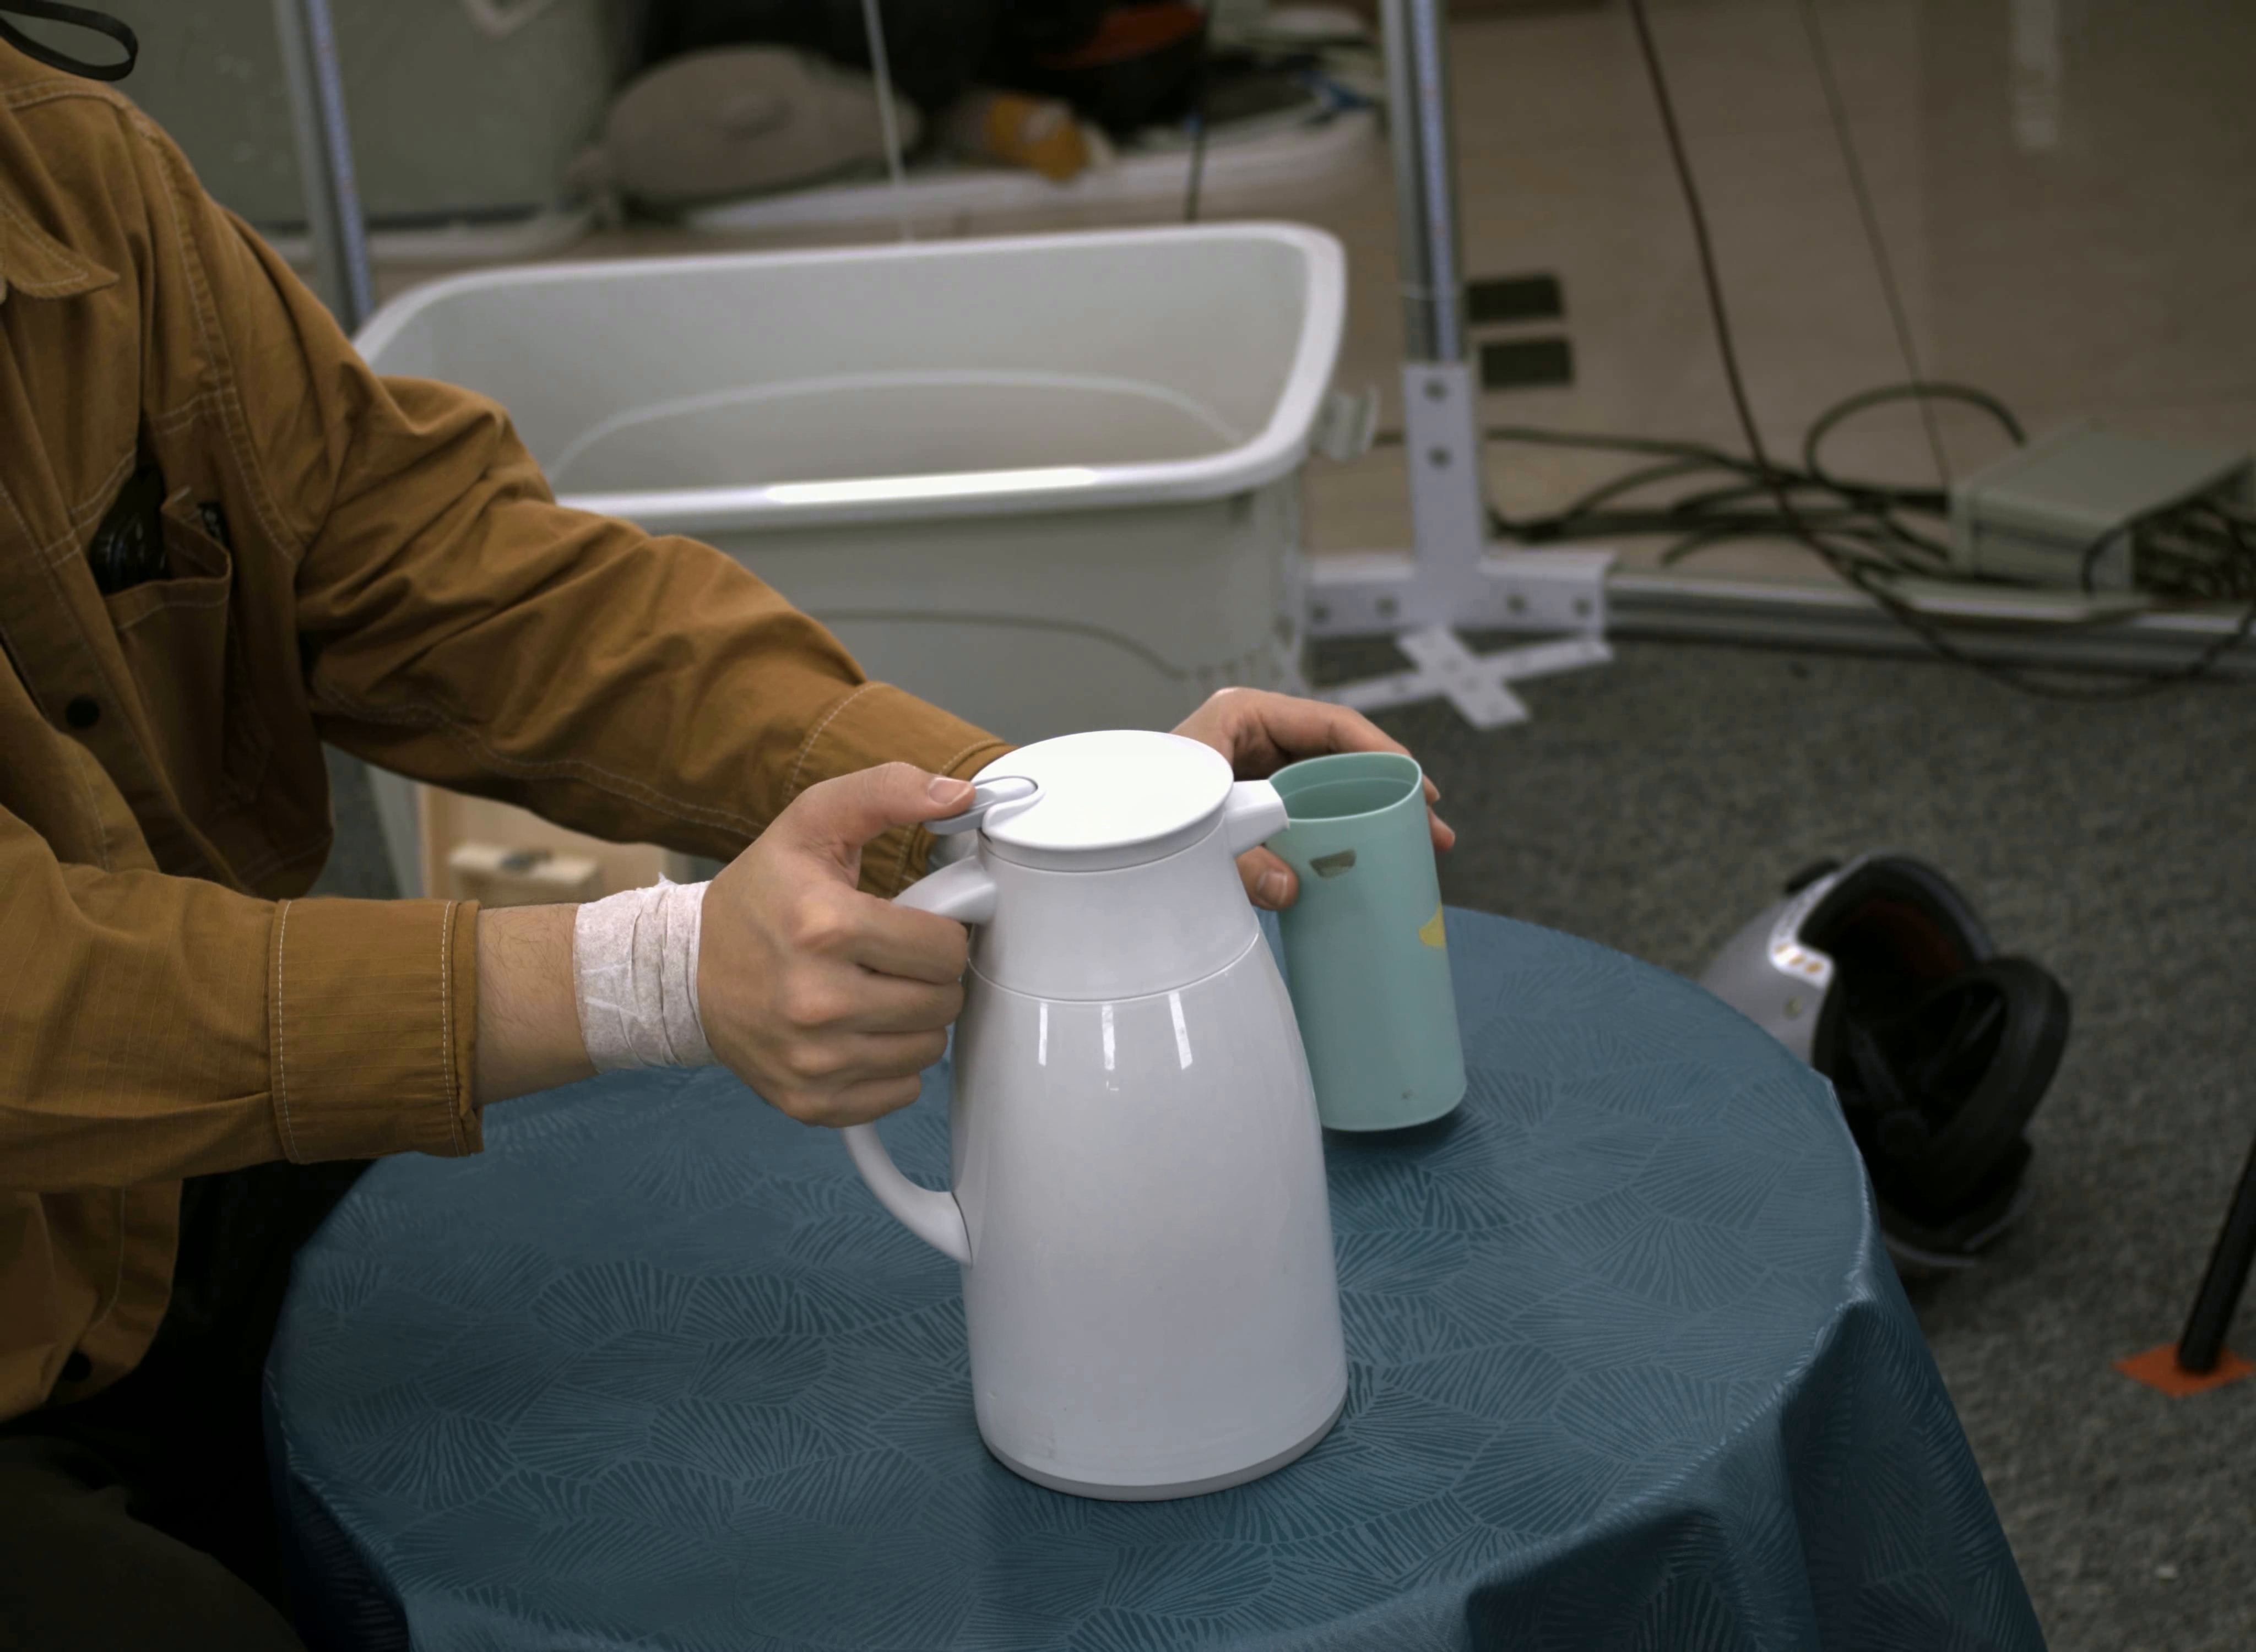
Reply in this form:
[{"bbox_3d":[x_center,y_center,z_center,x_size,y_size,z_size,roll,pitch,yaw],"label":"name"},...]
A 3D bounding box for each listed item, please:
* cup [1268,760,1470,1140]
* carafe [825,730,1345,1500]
[{"bbox_3d":[0.090,0.047,2.151,0.066,0.134,0.066,-7,23,3],"label":"cup"},{"bbox_3d":[-0.017,0.096,1.946,0.167,0.253,0.130,-12,27,-11],"label":"carafe"}]
